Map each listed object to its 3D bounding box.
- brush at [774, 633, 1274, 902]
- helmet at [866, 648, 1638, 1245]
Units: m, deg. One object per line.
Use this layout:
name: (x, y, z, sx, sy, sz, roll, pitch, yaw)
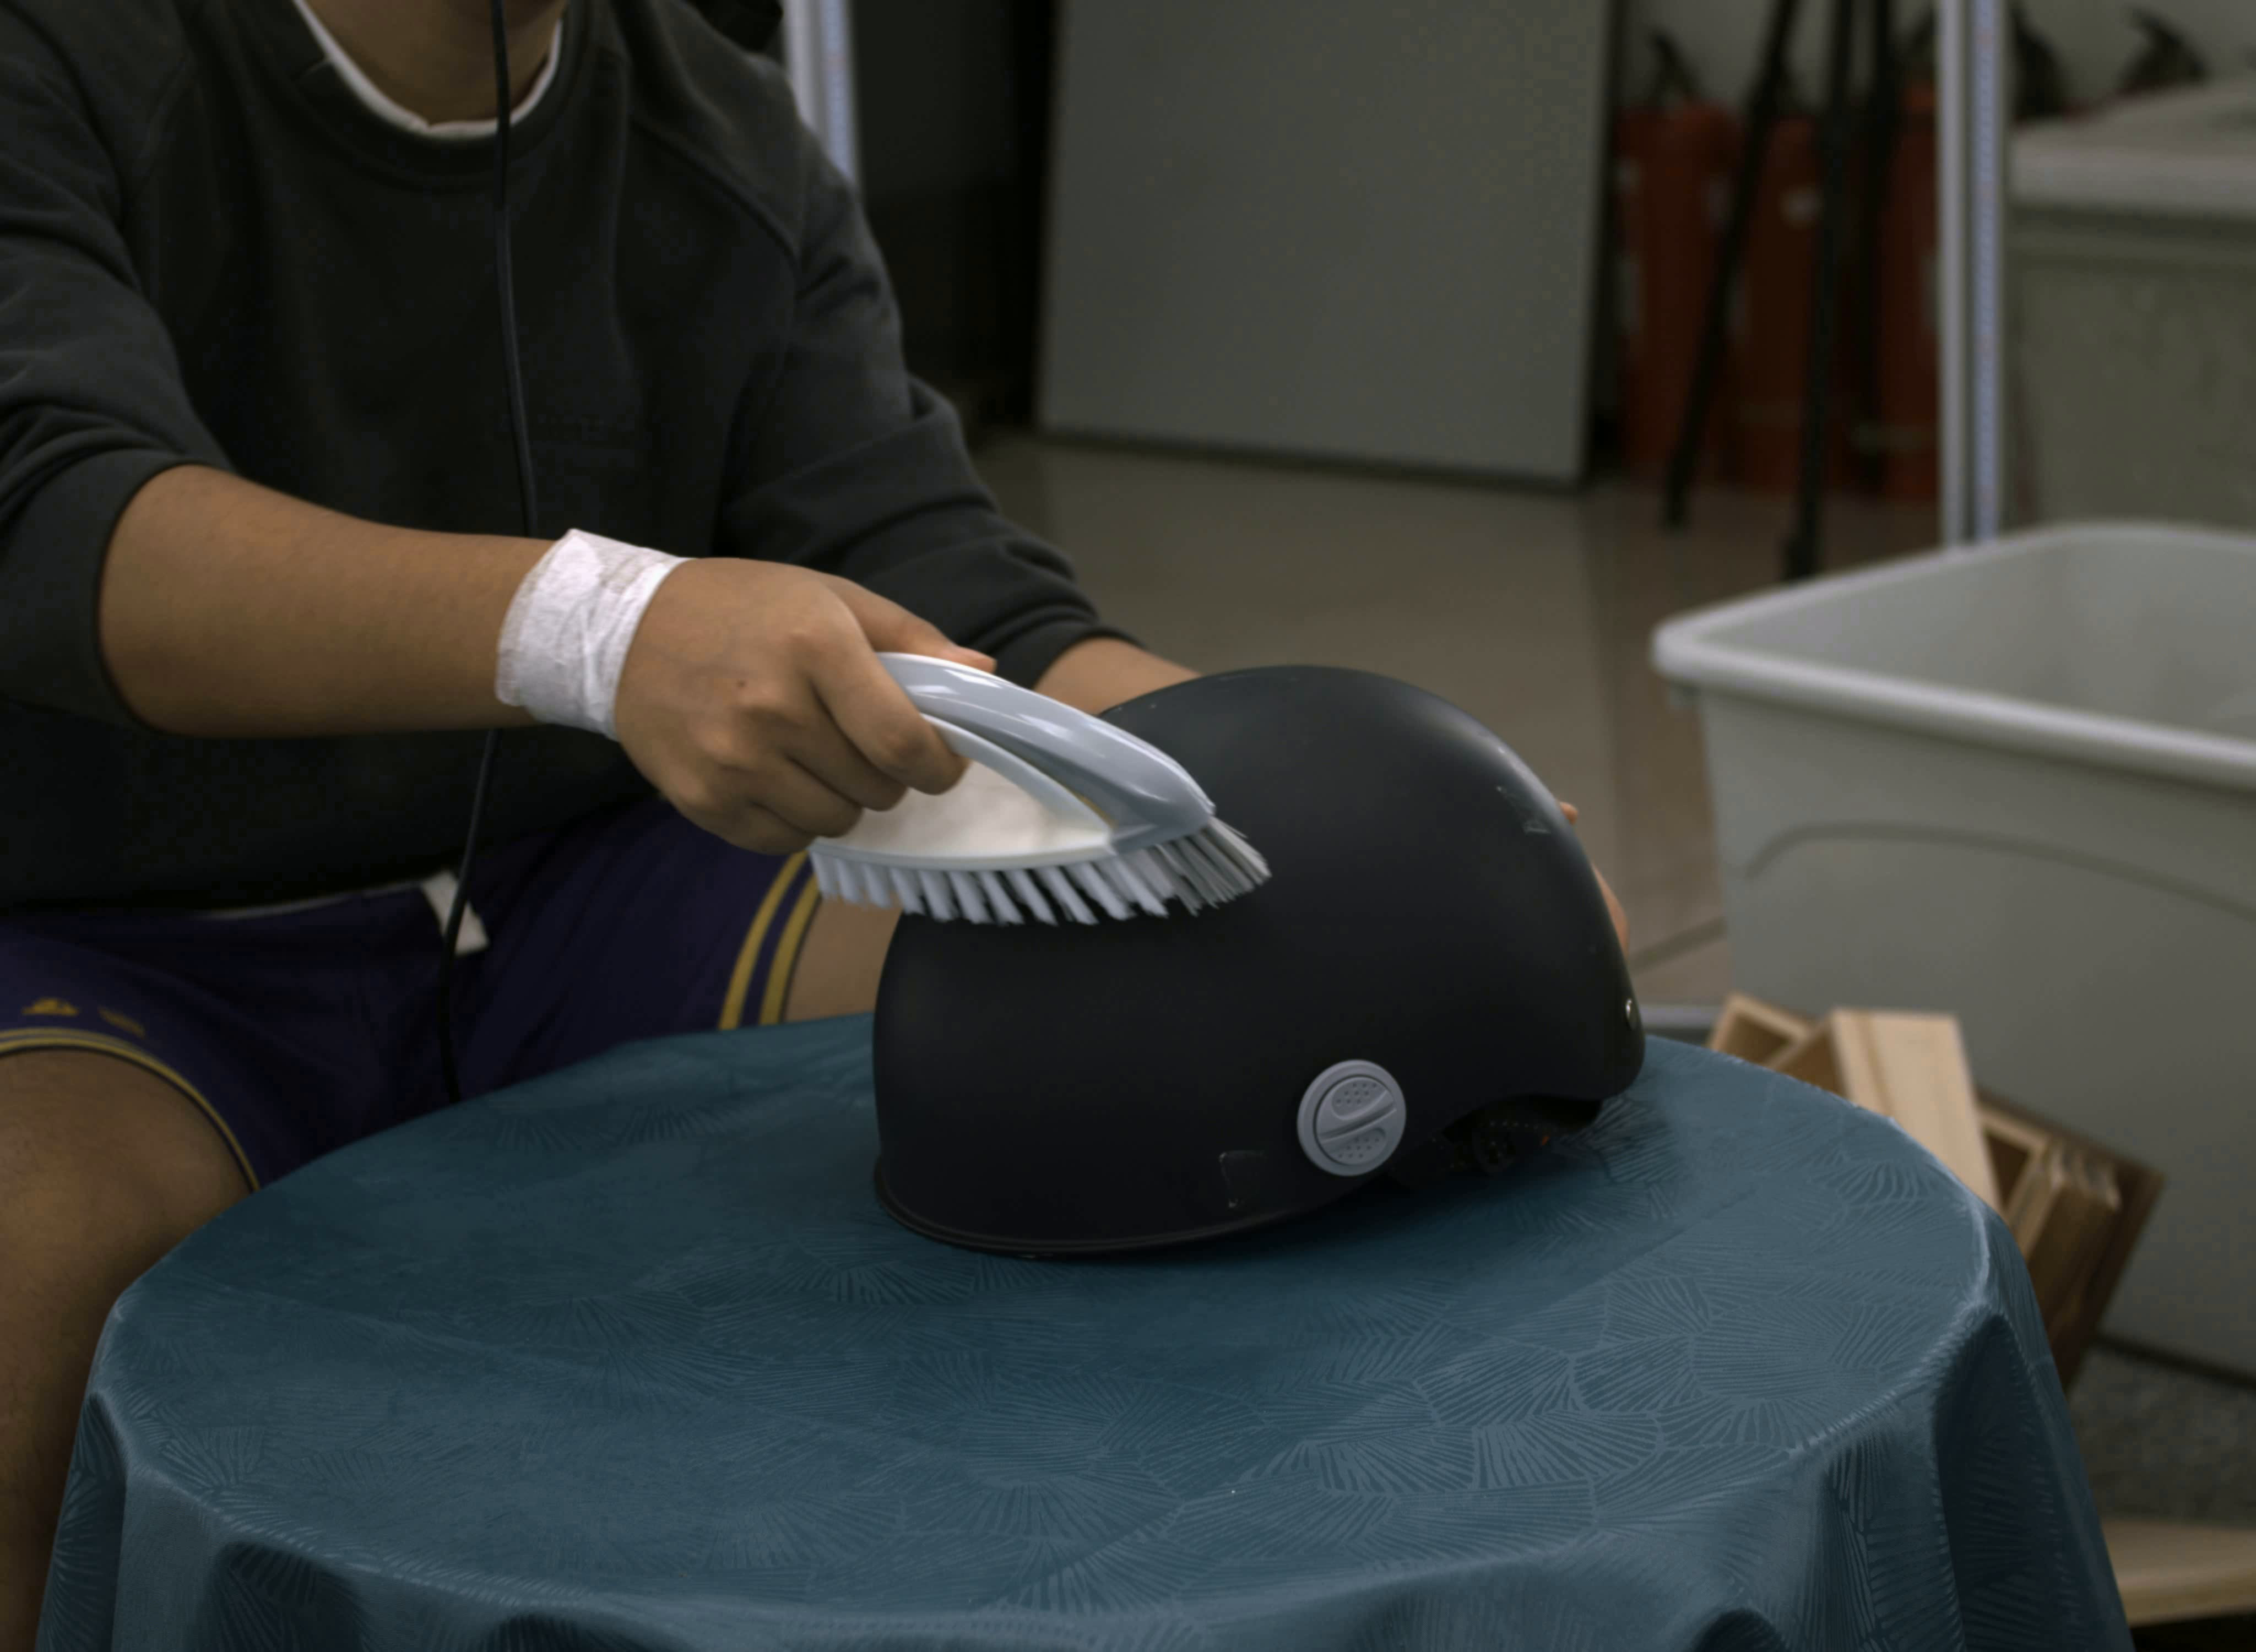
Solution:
brush: (-0.039, -0.023, 1.688, 0.177, 0.093, 0.061, 9, 58, 41)
helmet: (0.035, 0.031, 1.789, 0.267, 0.168, 0.232, -14, 16, -30)
